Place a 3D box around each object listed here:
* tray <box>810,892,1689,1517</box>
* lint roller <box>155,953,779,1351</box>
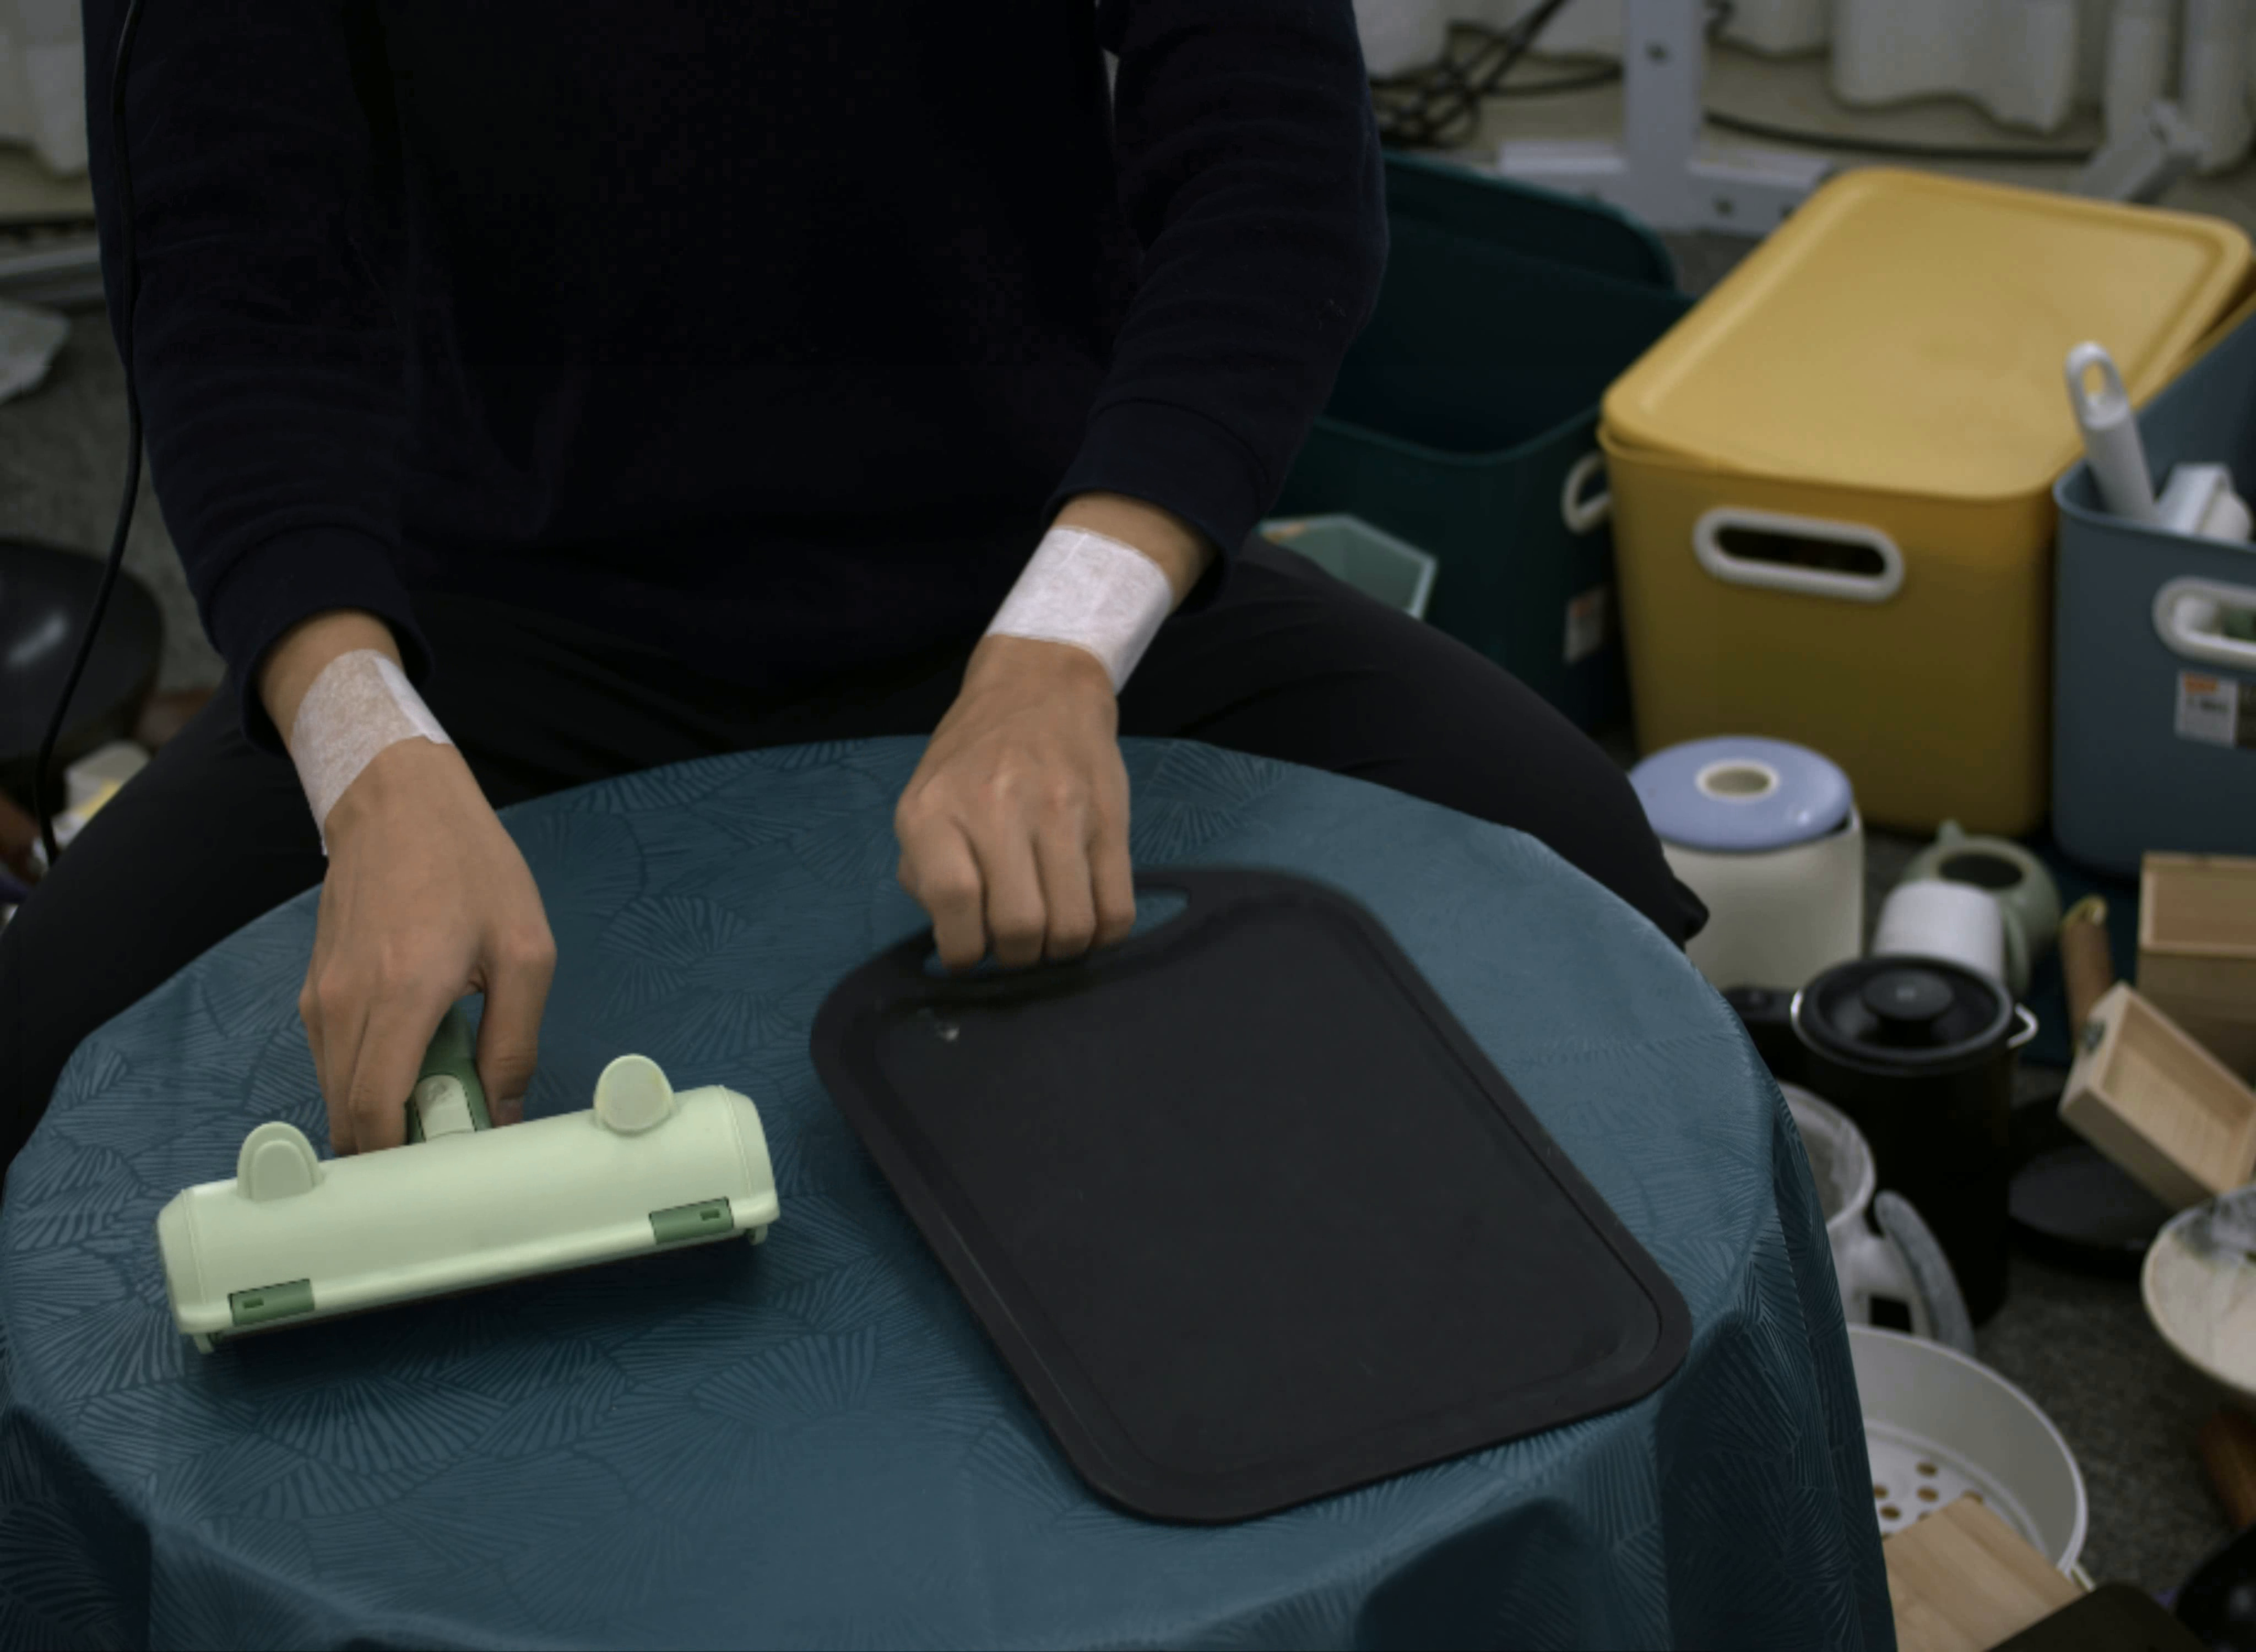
[{"bbox_3d":[0.030,0.112,1.837,0.212,0.009,0.328,-13,35,-20],"label":"tray"},{"bbox_3d":[-0.228,0.085,1.846,0.198,0.081,0.186,-10,43,-13],"label":"lint roller"}]
